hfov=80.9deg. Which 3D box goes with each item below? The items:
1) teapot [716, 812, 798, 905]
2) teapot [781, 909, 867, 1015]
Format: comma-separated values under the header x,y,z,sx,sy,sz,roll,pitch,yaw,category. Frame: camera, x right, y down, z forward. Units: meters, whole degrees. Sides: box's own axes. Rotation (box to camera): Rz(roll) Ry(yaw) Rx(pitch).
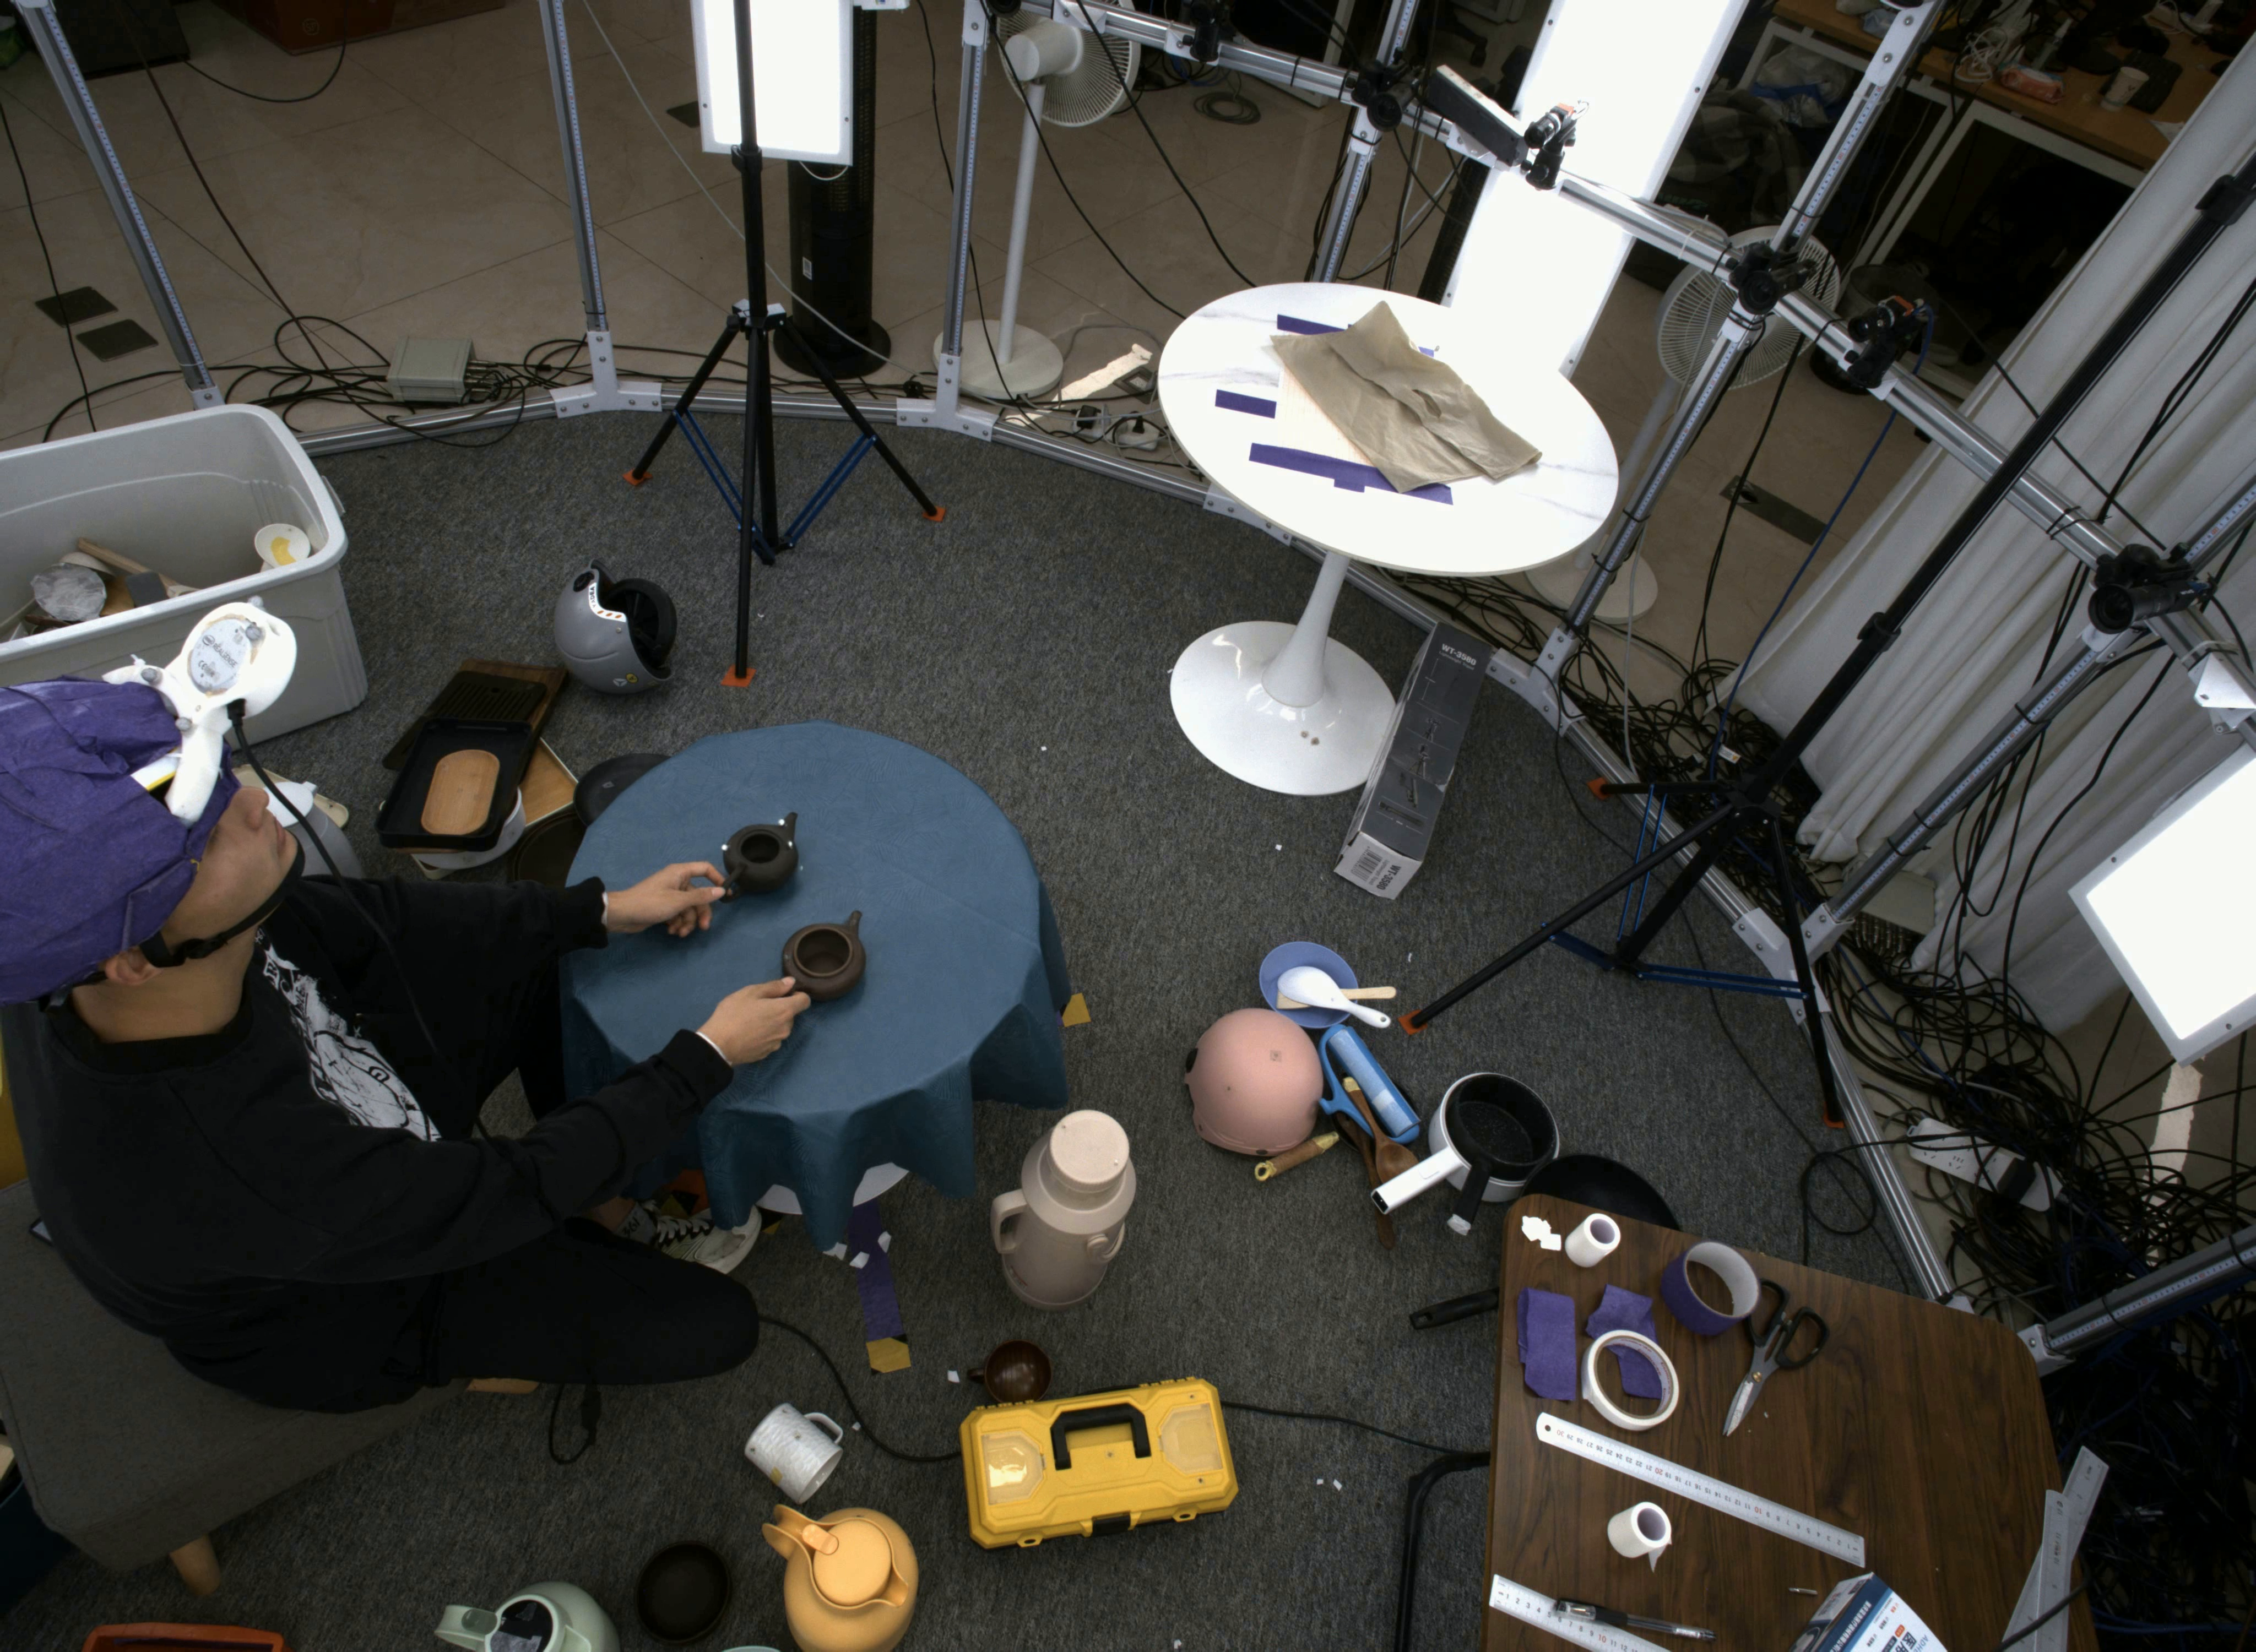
x,y,z,sx,sy,sz,roll,pitch,yaw,category
-0.467,0.042,1.637,0.091,0.066,0.153,28,52,11,teapot
-0.371,0.166,1.576,0.101,0.055,0.152,24,51,8,teapot
